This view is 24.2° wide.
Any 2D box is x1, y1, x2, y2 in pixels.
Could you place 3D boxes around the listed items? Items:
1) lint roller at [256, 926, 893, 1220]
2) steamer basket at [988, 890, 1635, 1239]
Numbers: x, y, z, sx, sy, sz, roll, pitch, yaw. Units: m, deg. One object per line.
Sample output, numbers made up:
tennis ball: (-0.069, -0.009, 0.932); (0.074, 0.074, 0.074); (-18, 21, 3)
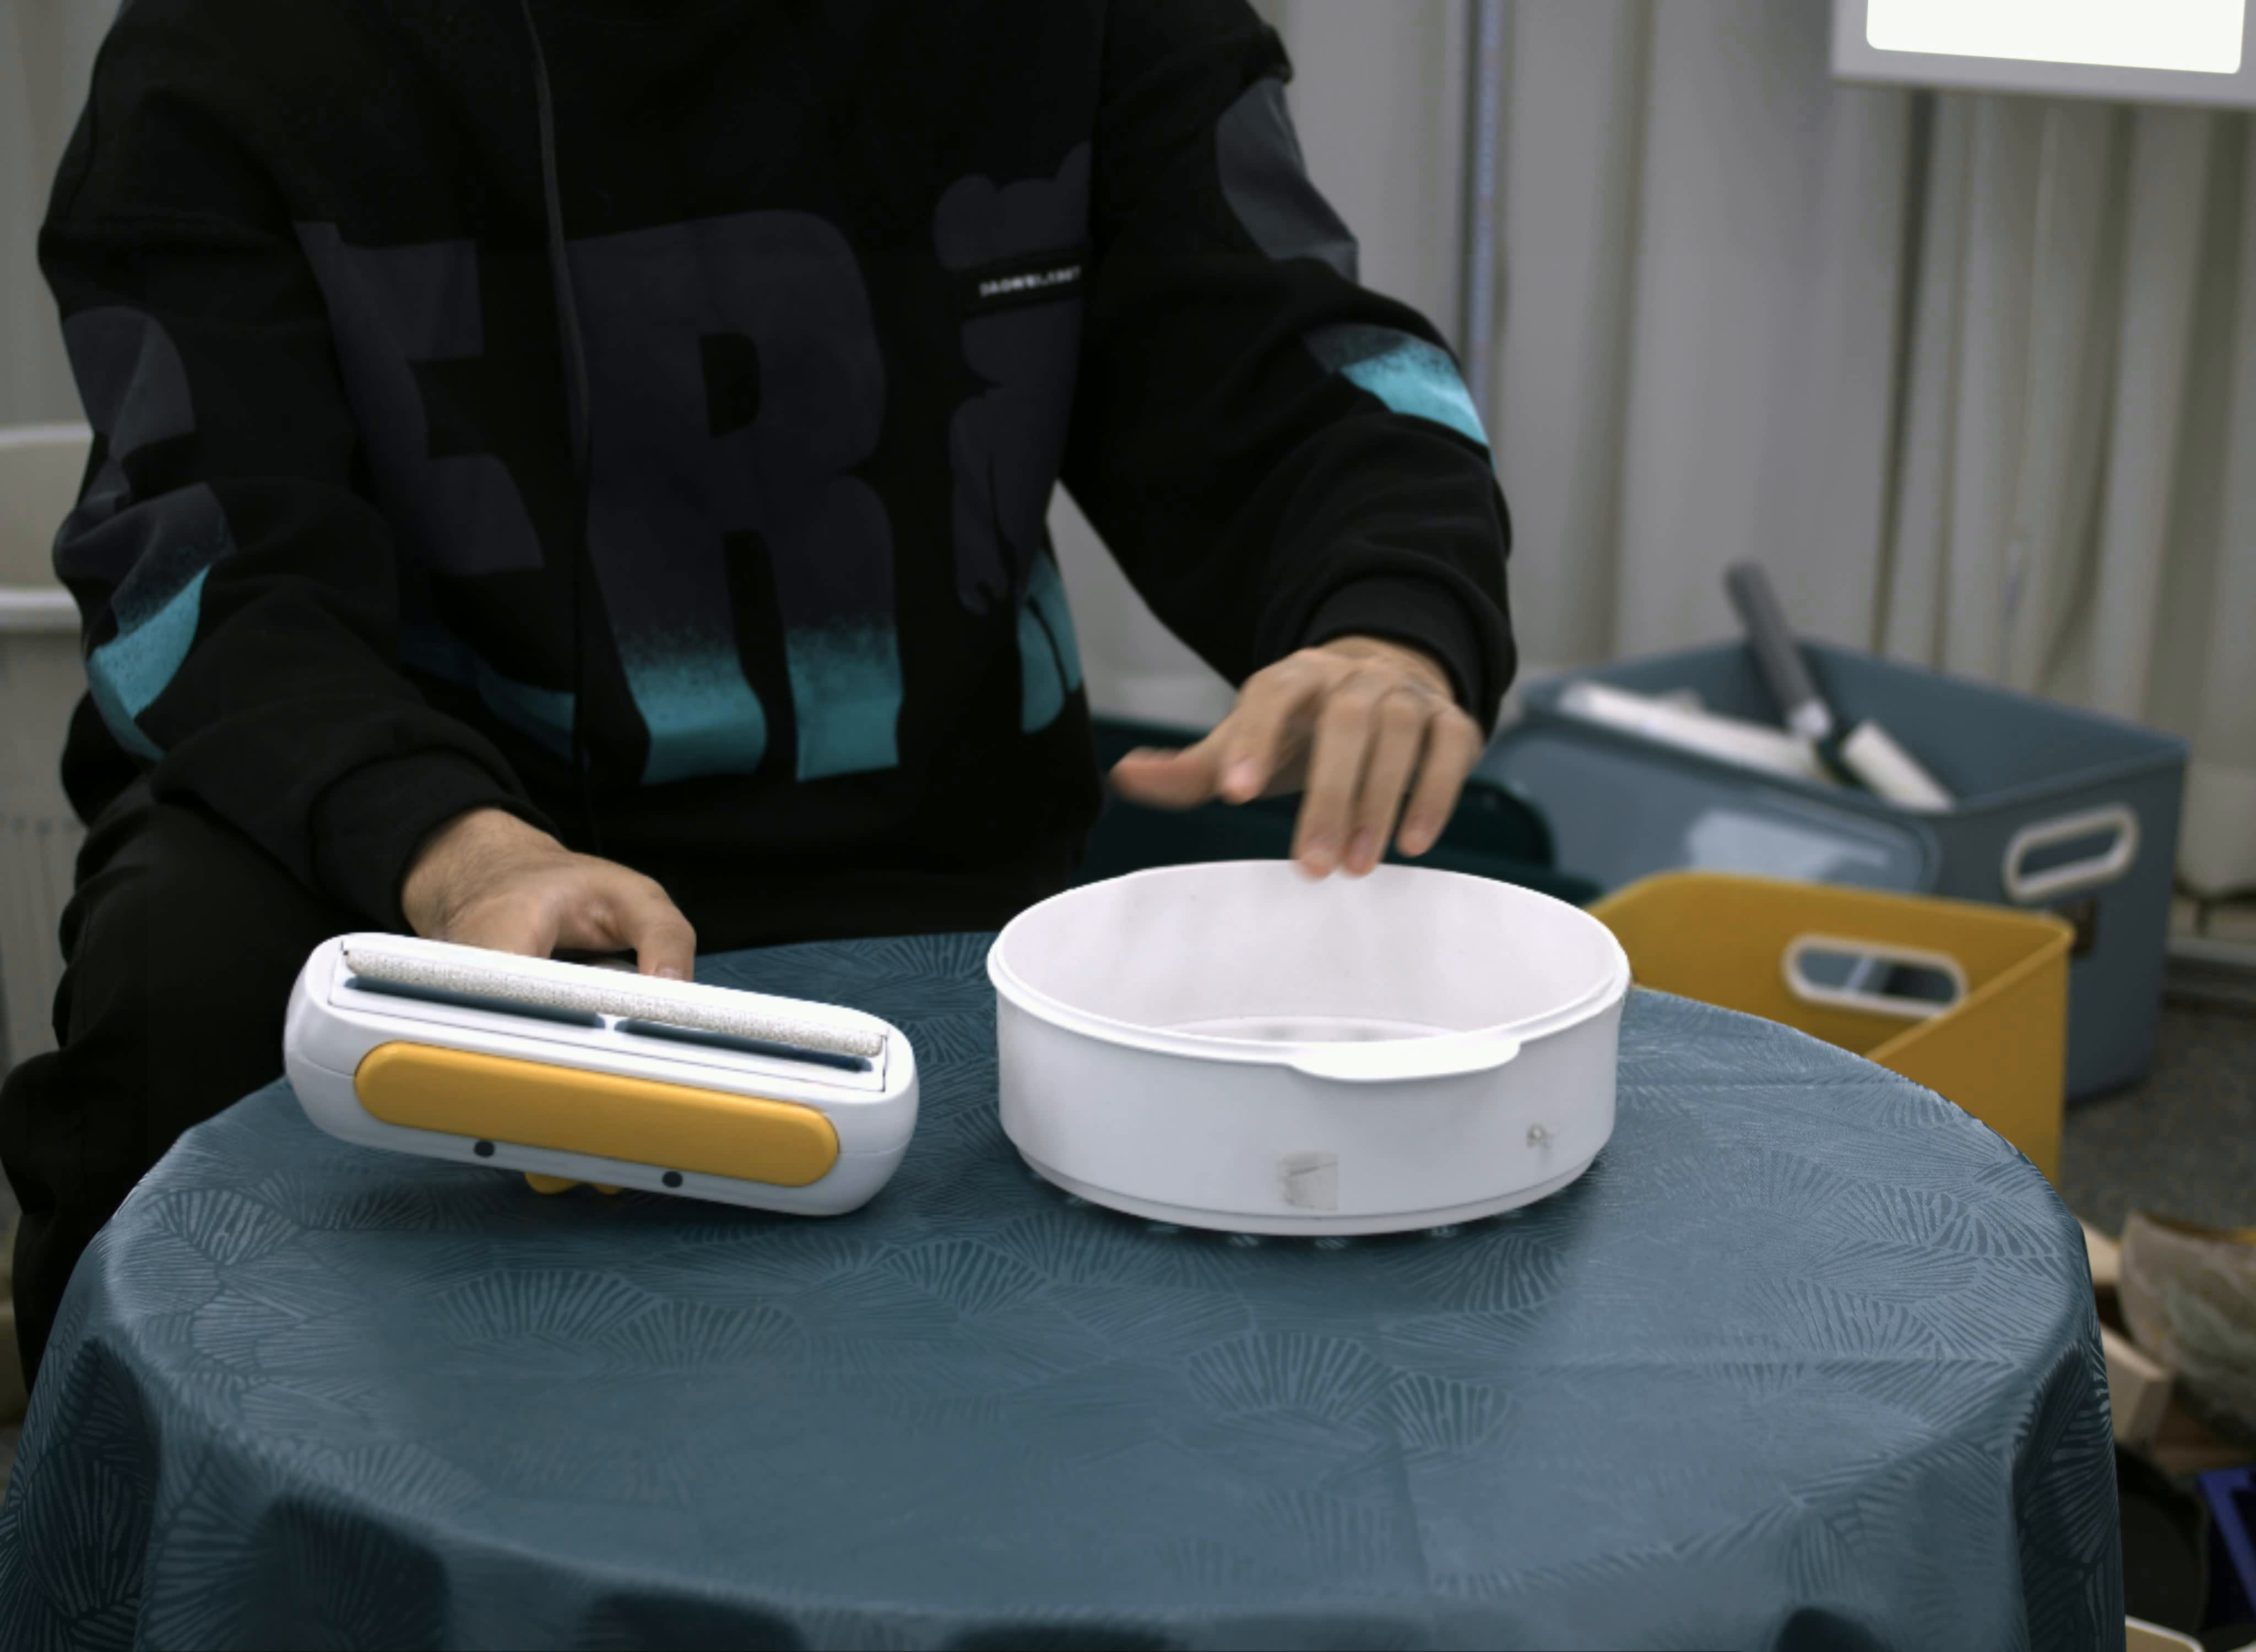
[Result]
lint roller: (-0.167, 0.063, 1.651); (0.192, 0.075, 0.191); (6, 18, -2)
steamer basket: (0.057, 0.074, 1.644); (0.202, 0.070, 0.228); (-3, 13, -16)
